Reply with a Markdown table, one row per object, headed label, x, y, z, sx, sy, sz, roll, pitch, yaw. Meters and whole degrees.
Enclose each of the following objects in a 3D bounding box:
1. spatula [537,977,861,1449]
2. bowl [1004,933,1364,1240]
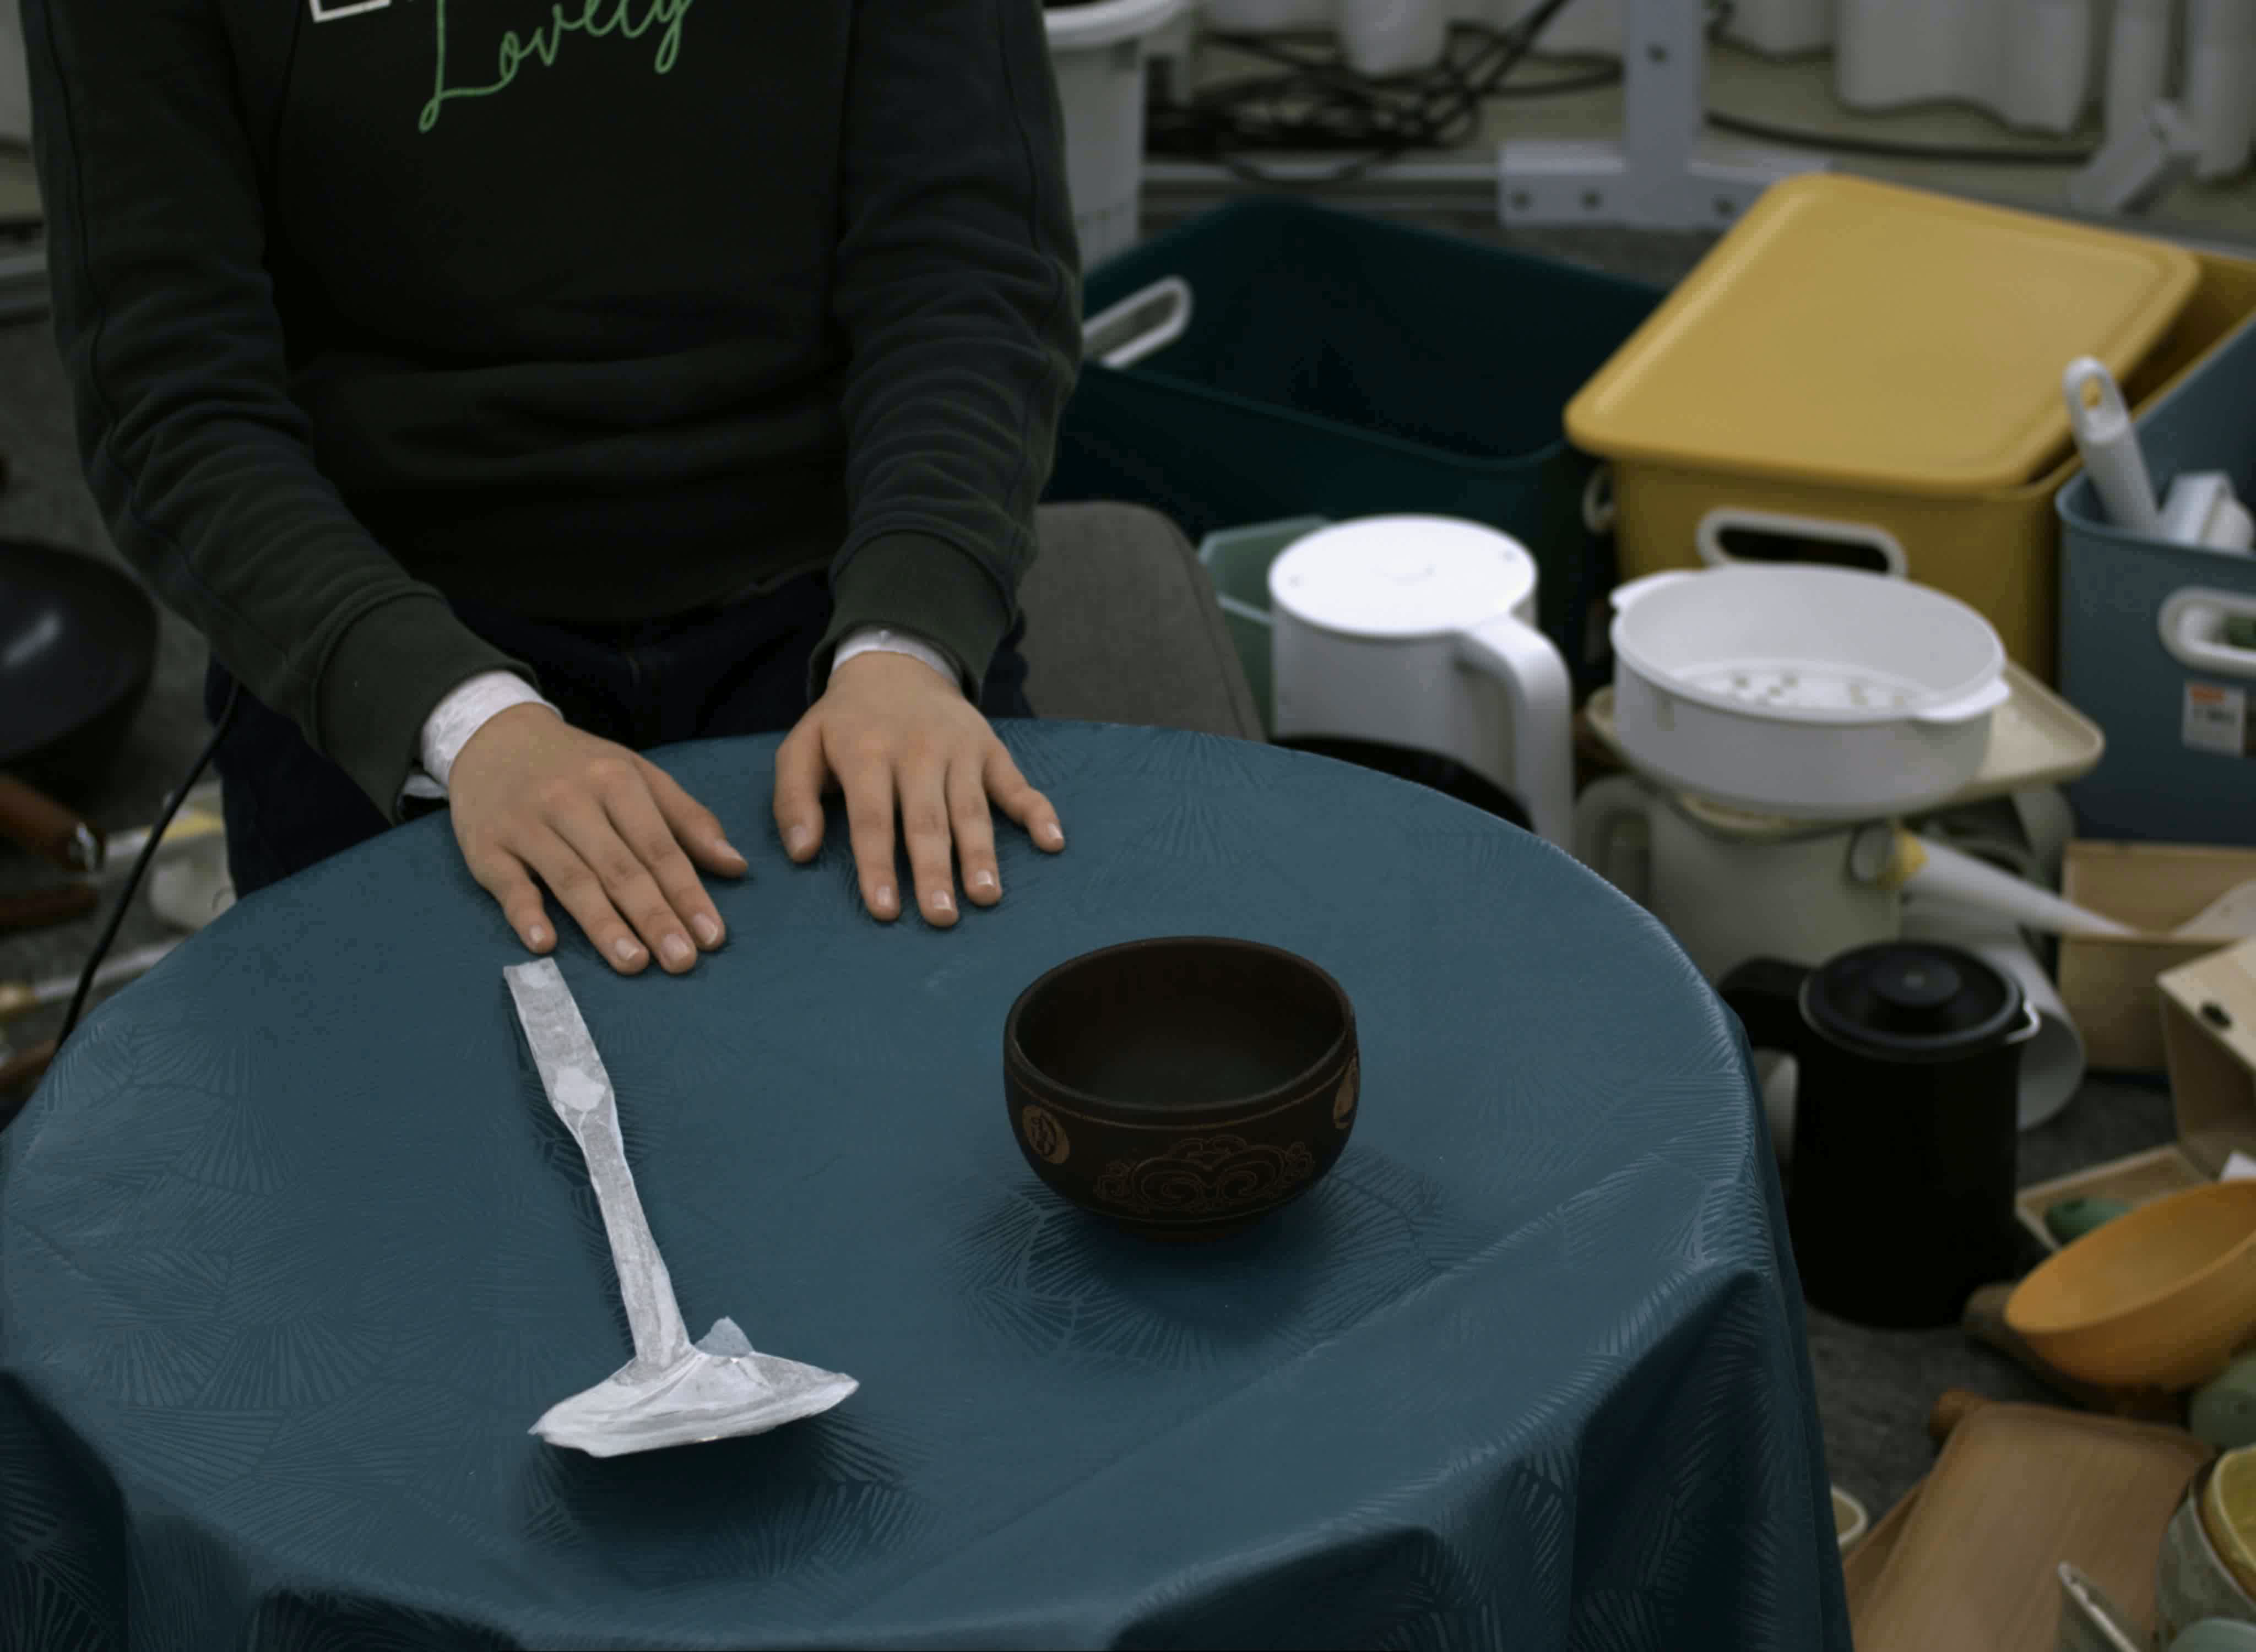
| label | x | y | z | sx | sy | sz | roll | pitch | yaw |
| --- | --- | --- | --- | --- | --- | --- | --- | --- | --- |
| spatula | -0.164 | 0.119 | 1.842 | 0.098 | 0.044 | 0.369 | -10 | 28 | -10 |
| bowl | 0.019 | 0.092 | 1.840 | 0.117 | 0.069 | 0.120 | -1 | 26 | 1 |
